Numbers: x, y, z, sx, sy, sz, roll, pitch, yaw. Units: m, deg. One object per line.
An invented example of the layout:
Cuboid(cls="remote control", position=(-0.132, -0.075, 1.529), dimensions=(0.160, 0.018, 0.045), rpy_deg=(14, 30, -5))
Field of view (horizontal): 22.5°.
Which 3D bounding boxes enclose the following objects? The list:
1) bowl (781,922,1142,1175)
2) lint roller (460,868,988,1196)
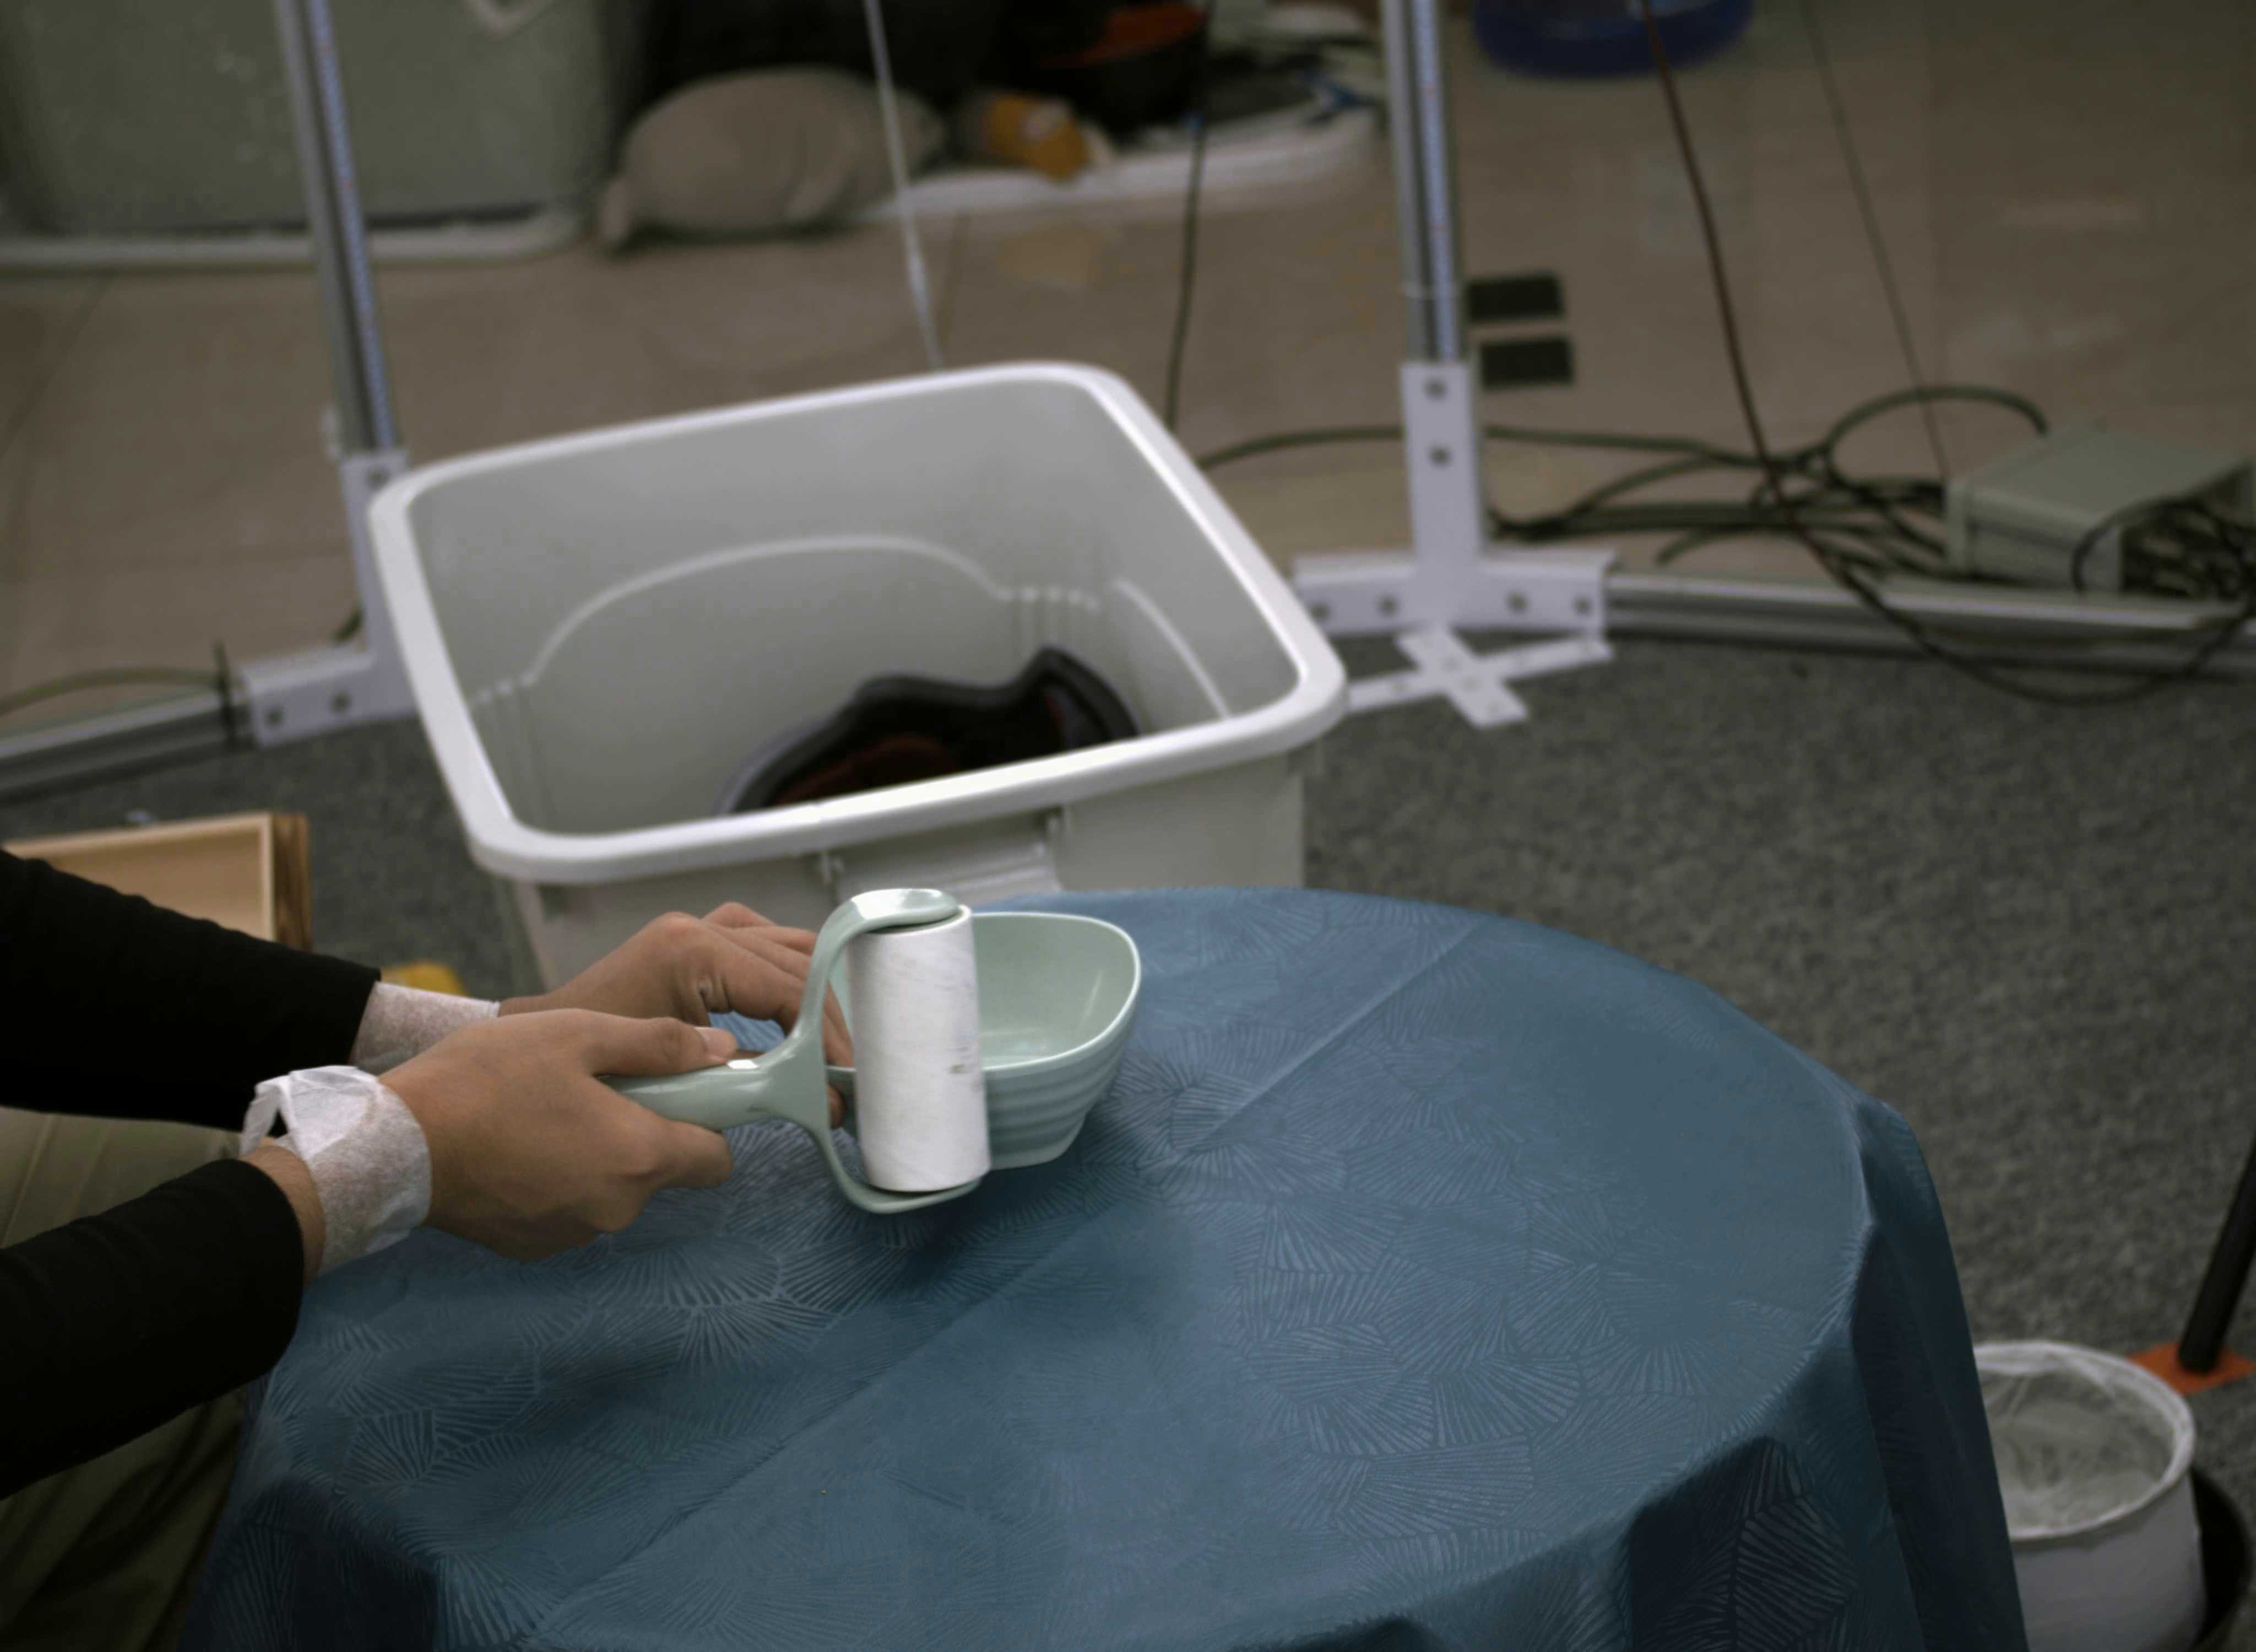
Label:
Cuboid(cls="bowl", position=(-0.062, 0.091, 2.199), dimensions=(0.151, 0.059, 0.149), rpy_deg=(-5, 23, 2))
Cuboid(cls="lint roller", position=(-0.146, 0.087, 2.068), dimensions=(0.197, 0.118, 0.048), rpy_deg=(-11, 18, -24))
